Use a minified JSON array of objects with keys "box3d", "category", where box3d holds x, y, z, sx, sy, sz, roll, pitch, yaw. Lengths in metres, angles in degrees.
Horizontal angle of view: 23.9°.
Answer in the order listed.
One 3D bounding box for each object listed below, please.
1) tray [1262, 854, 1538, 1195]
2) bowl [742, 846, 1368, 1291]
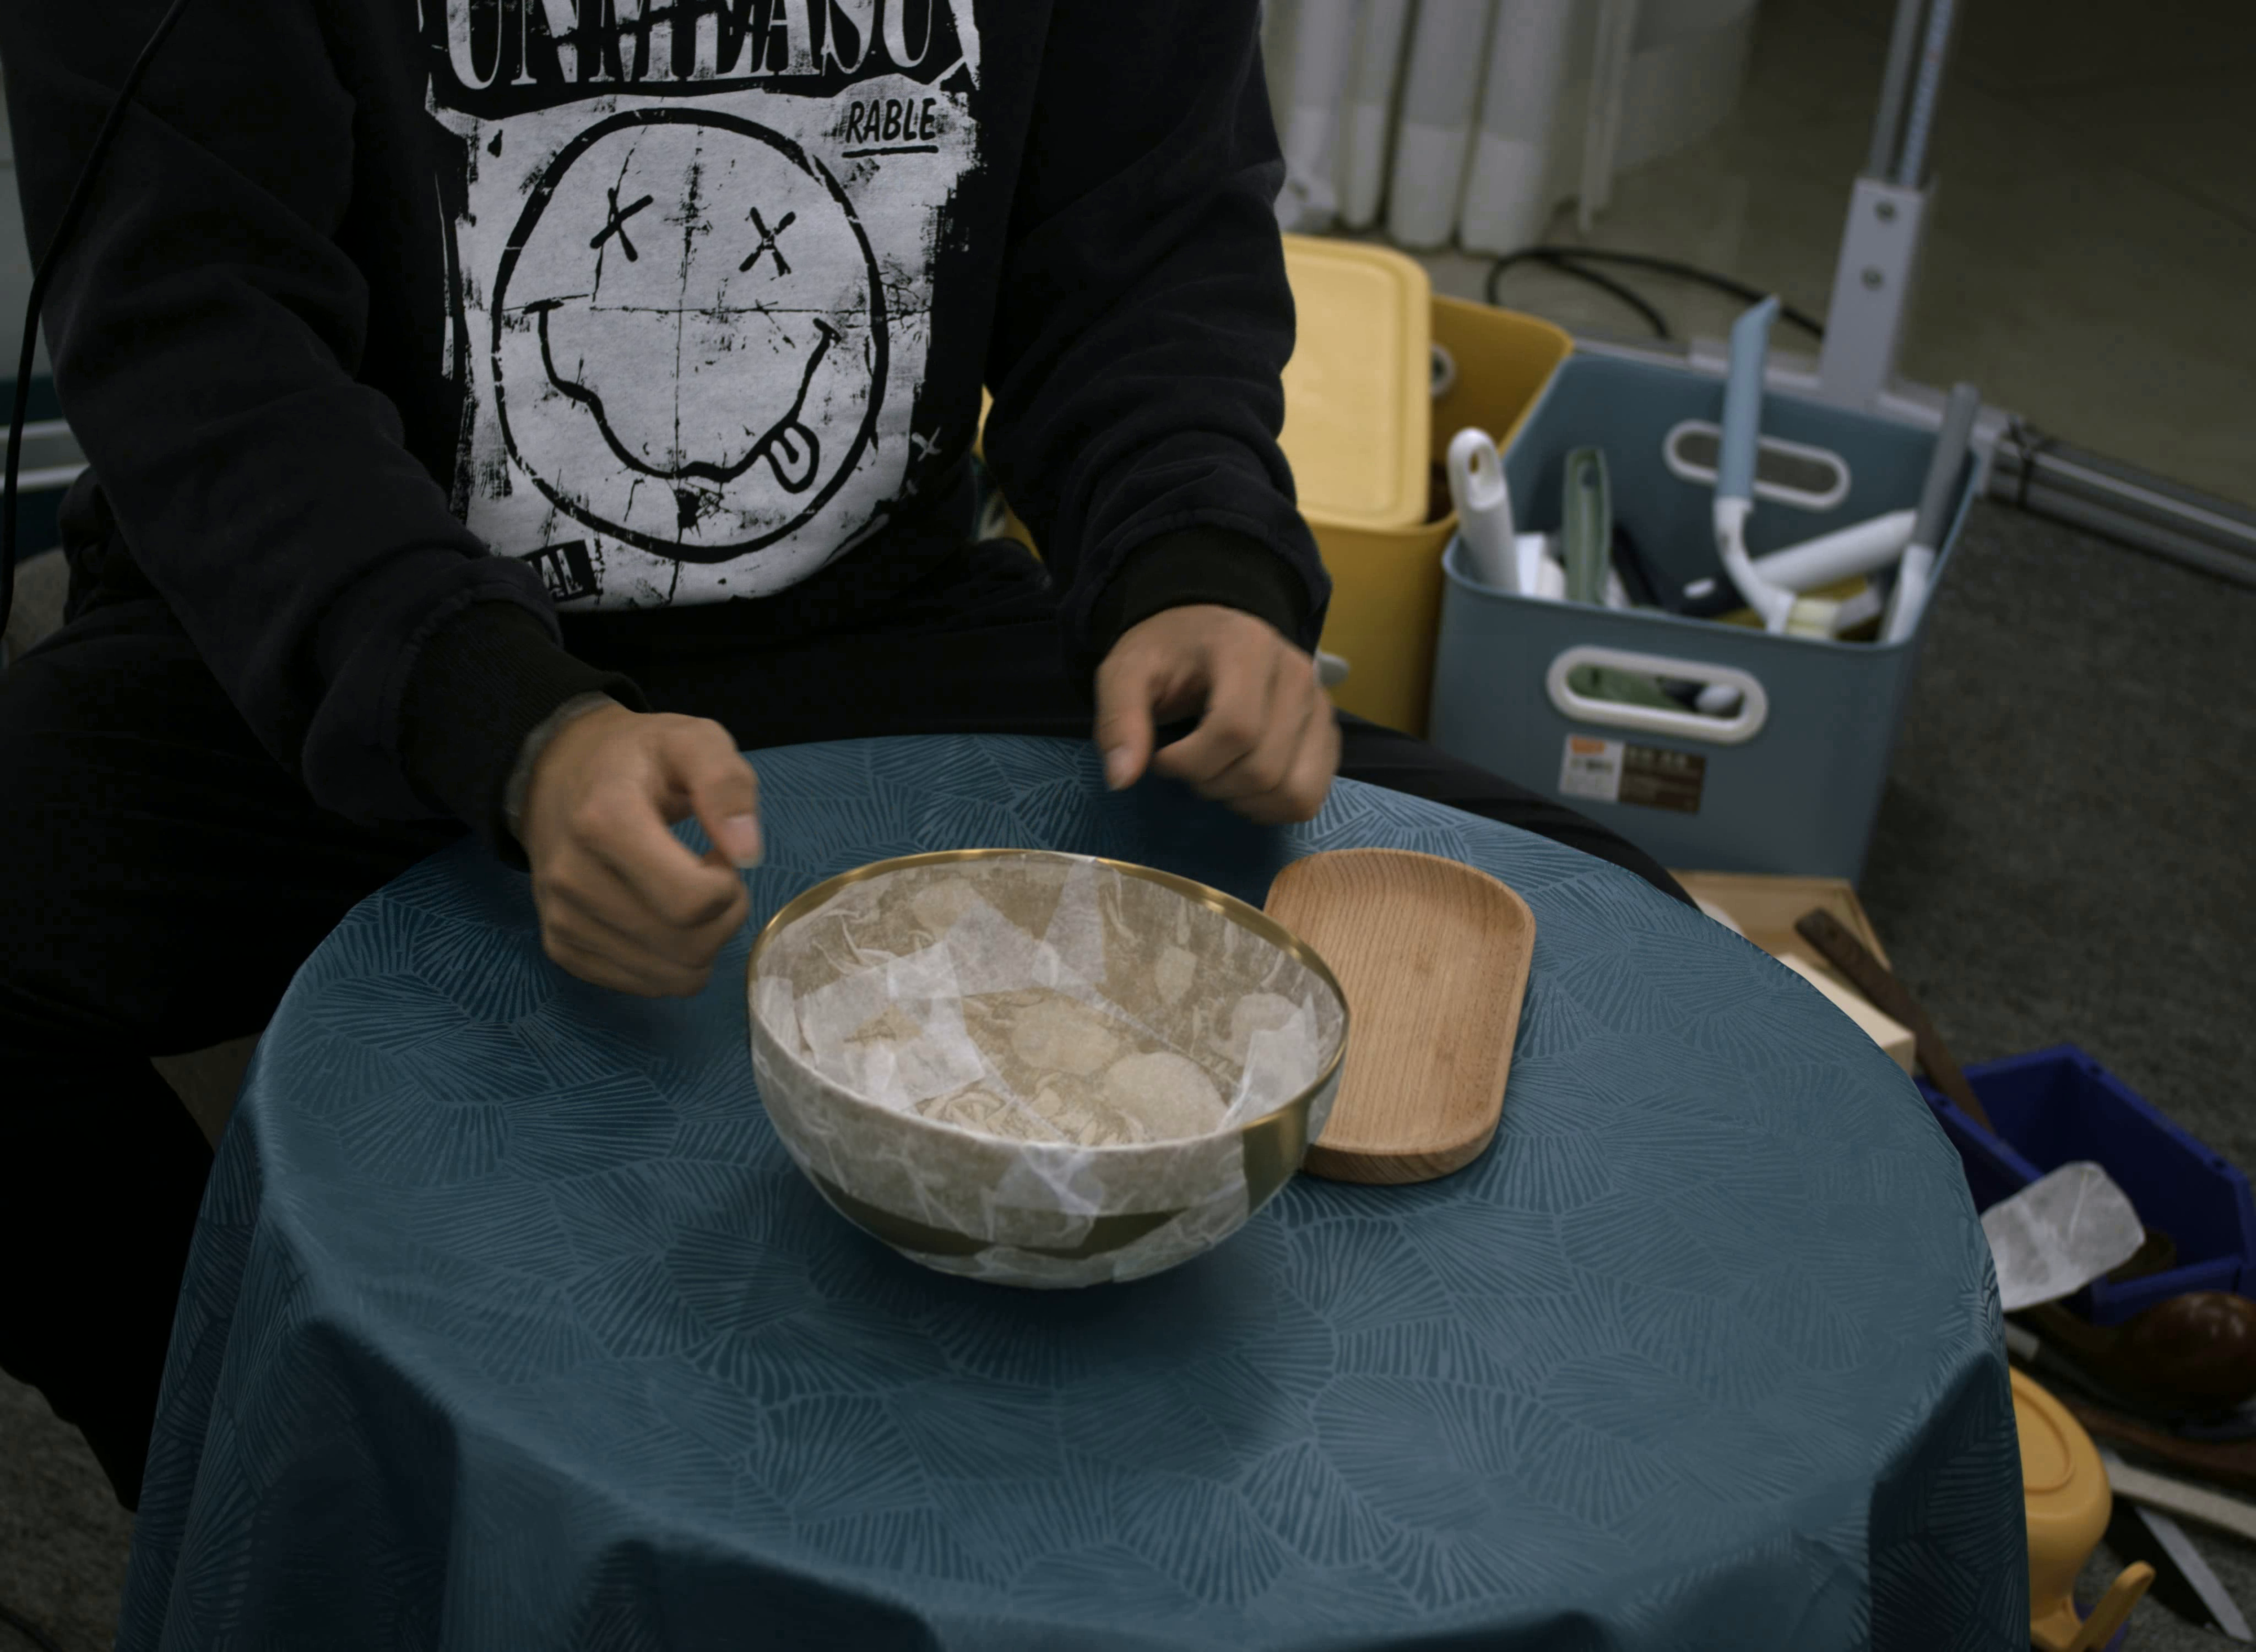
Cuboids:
[{"box3d":[0.092,0.069,1.913,0.101,0.020,0.232,7,28,6],"category":"tray"},{"box3d":[-0.027,0.091,1.756,0.214,0.094,0.216,4,26,-2],"category":"bowl"}]
